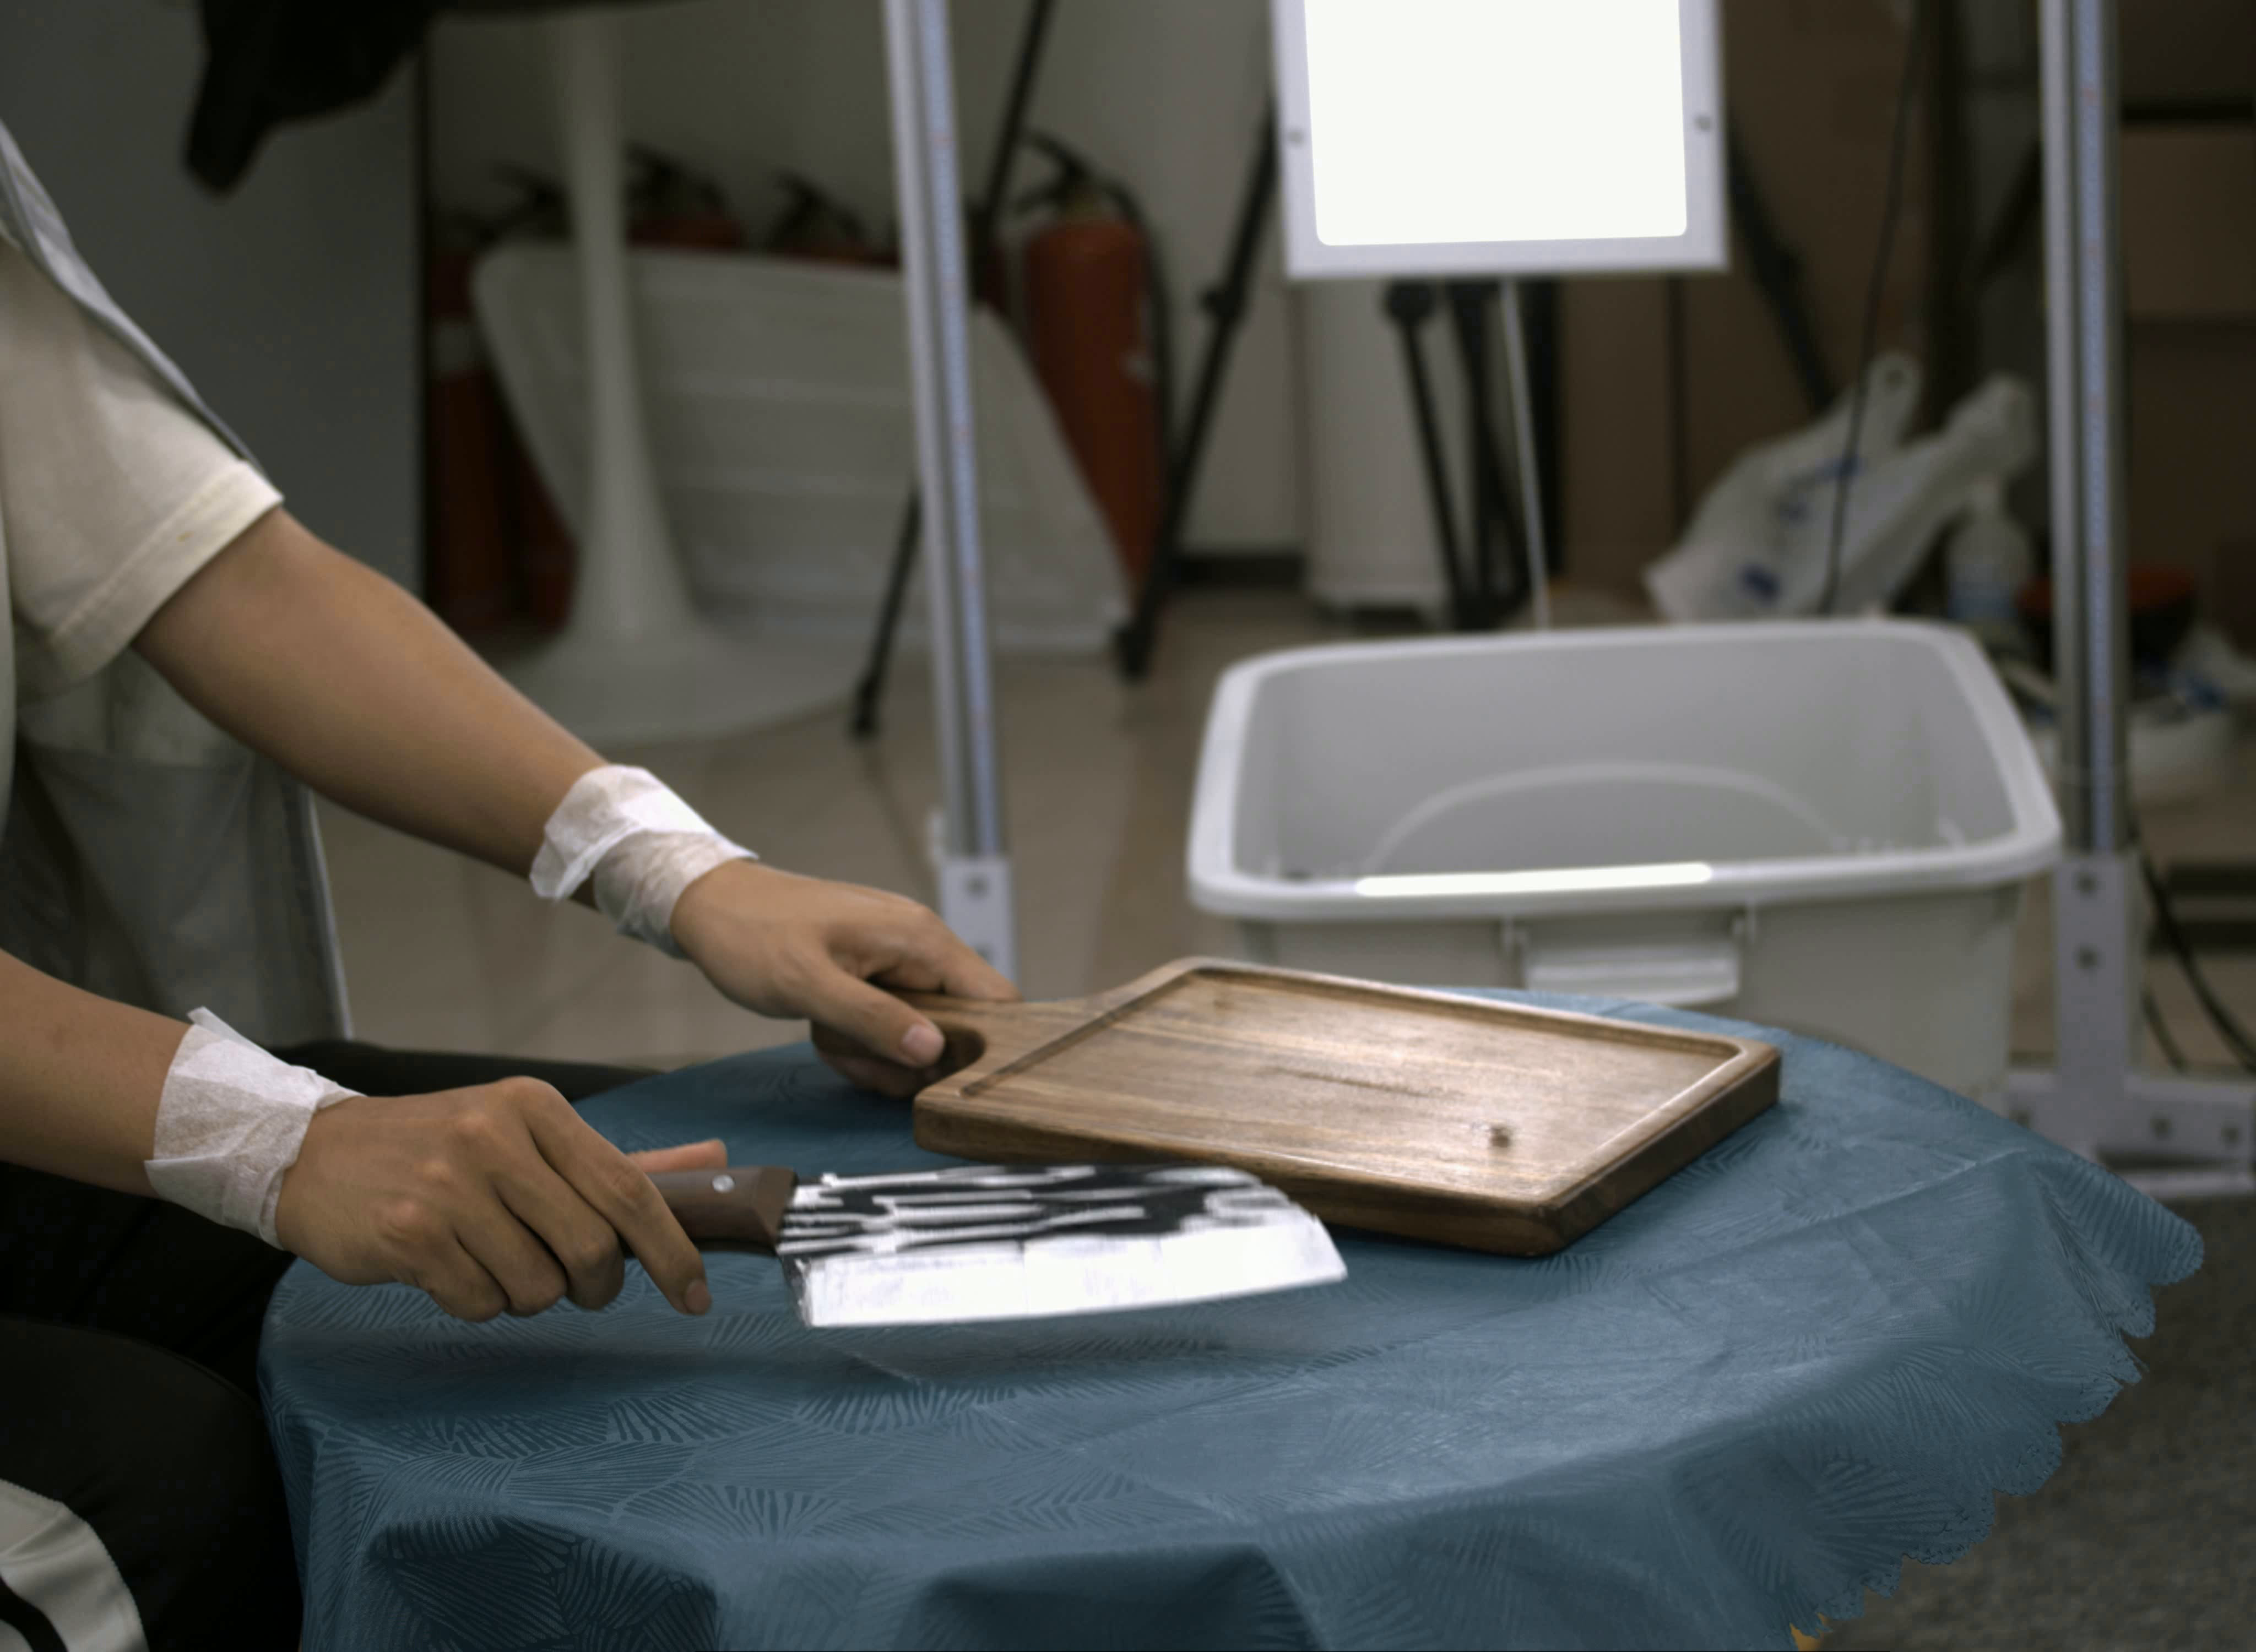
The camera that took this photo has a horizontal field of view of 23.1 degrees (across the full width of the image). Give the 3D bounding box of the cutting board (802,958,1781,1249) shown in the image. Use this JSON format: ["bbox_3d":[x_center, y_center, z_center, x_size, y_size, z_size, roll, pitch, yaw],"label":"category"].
[{"bbox_3d":[0.036,0.088,1.950,0.359,0.023,0.196,7,18,31],"label":"cutting board"}]

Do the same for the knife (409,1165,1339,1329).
[{"bbox_3d":[-0.082,0.134,1.742,0.300,0.024,0.068,-2,41,6],"label":"knife"}]
